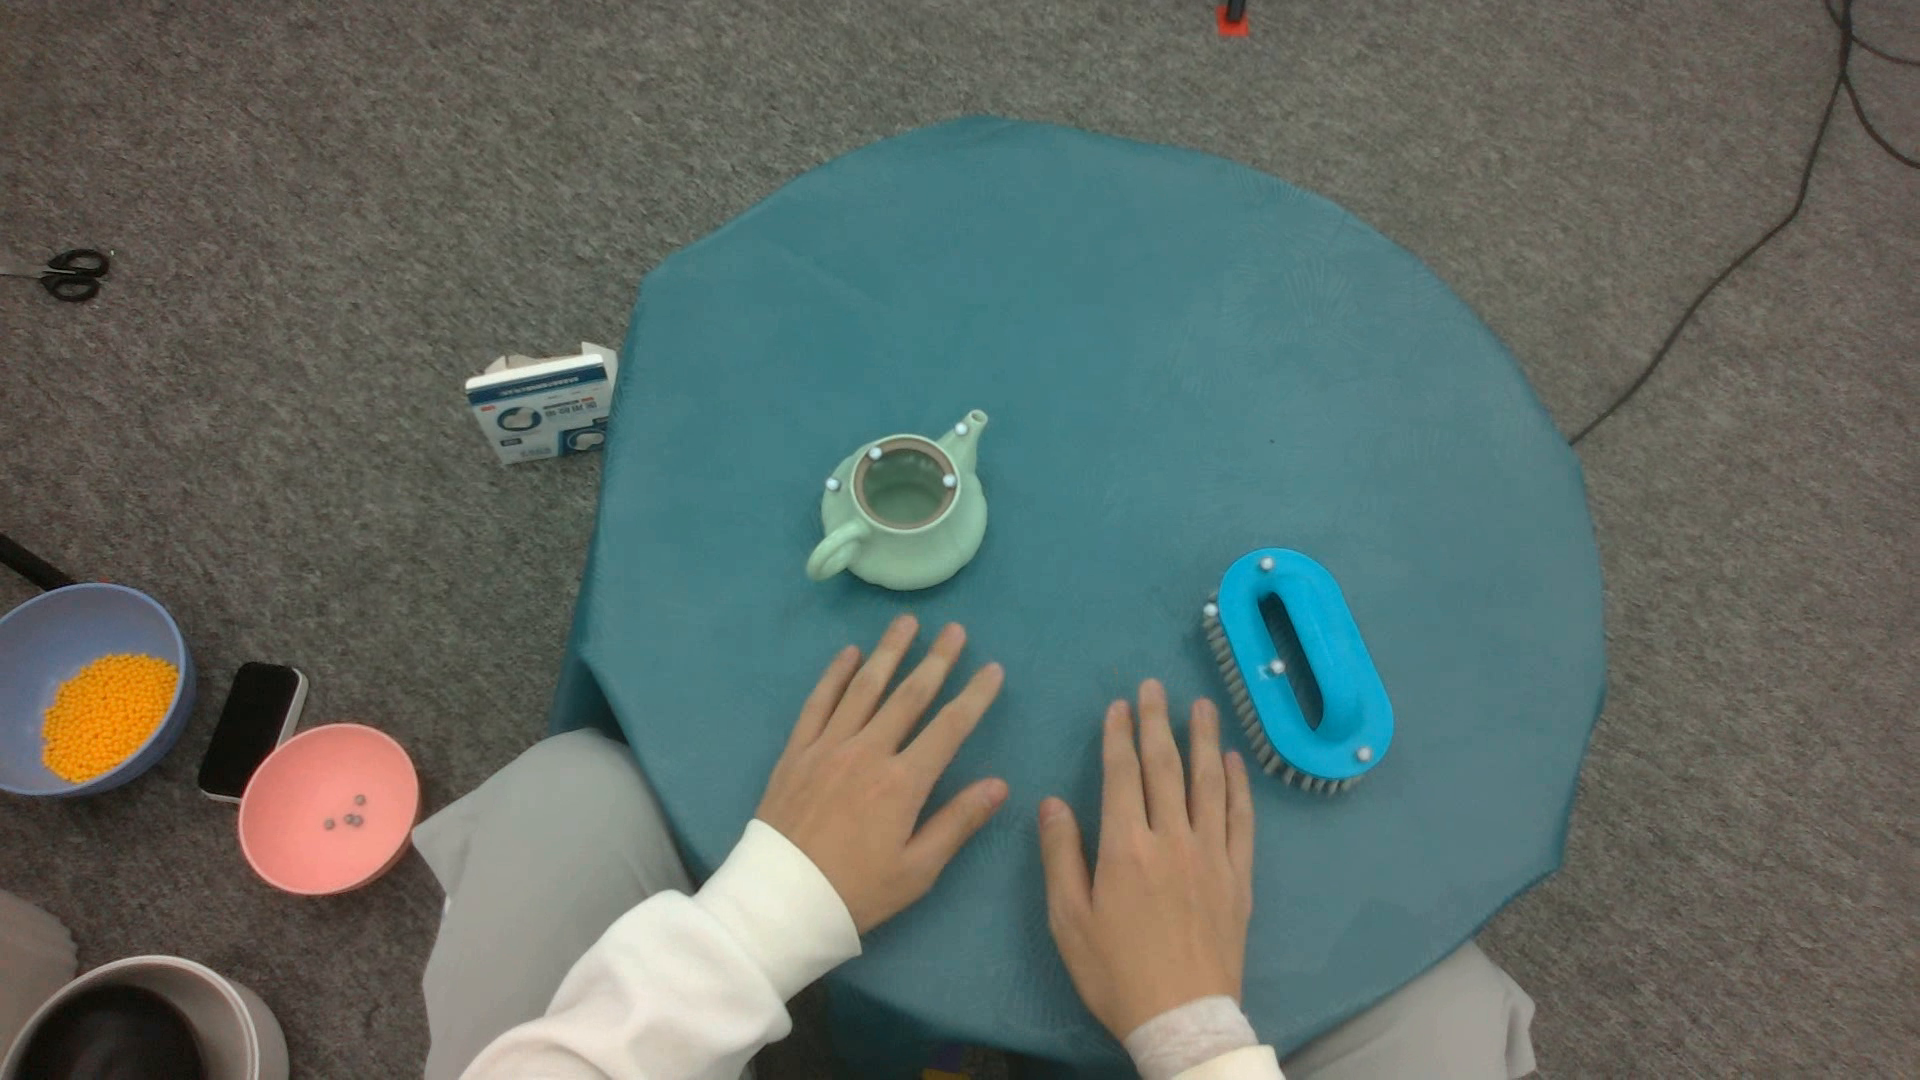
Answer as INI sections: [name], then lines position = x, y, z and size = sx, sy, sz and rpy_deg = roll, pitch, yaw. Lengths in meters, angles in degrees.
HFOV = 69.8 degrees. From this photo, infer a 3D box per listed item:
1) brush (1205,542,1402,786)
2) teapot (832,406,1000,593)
[brush]
position = 0.197, 0.061, 0.770
size = 0.084, 0.063, 0.142
rpy_deg = -12, 66, -13
[teapot]
position = -0.027, -0.018, 0.803
size = 0.096, 0.061, 0.137
rpy_deg = 39, 71, 10
